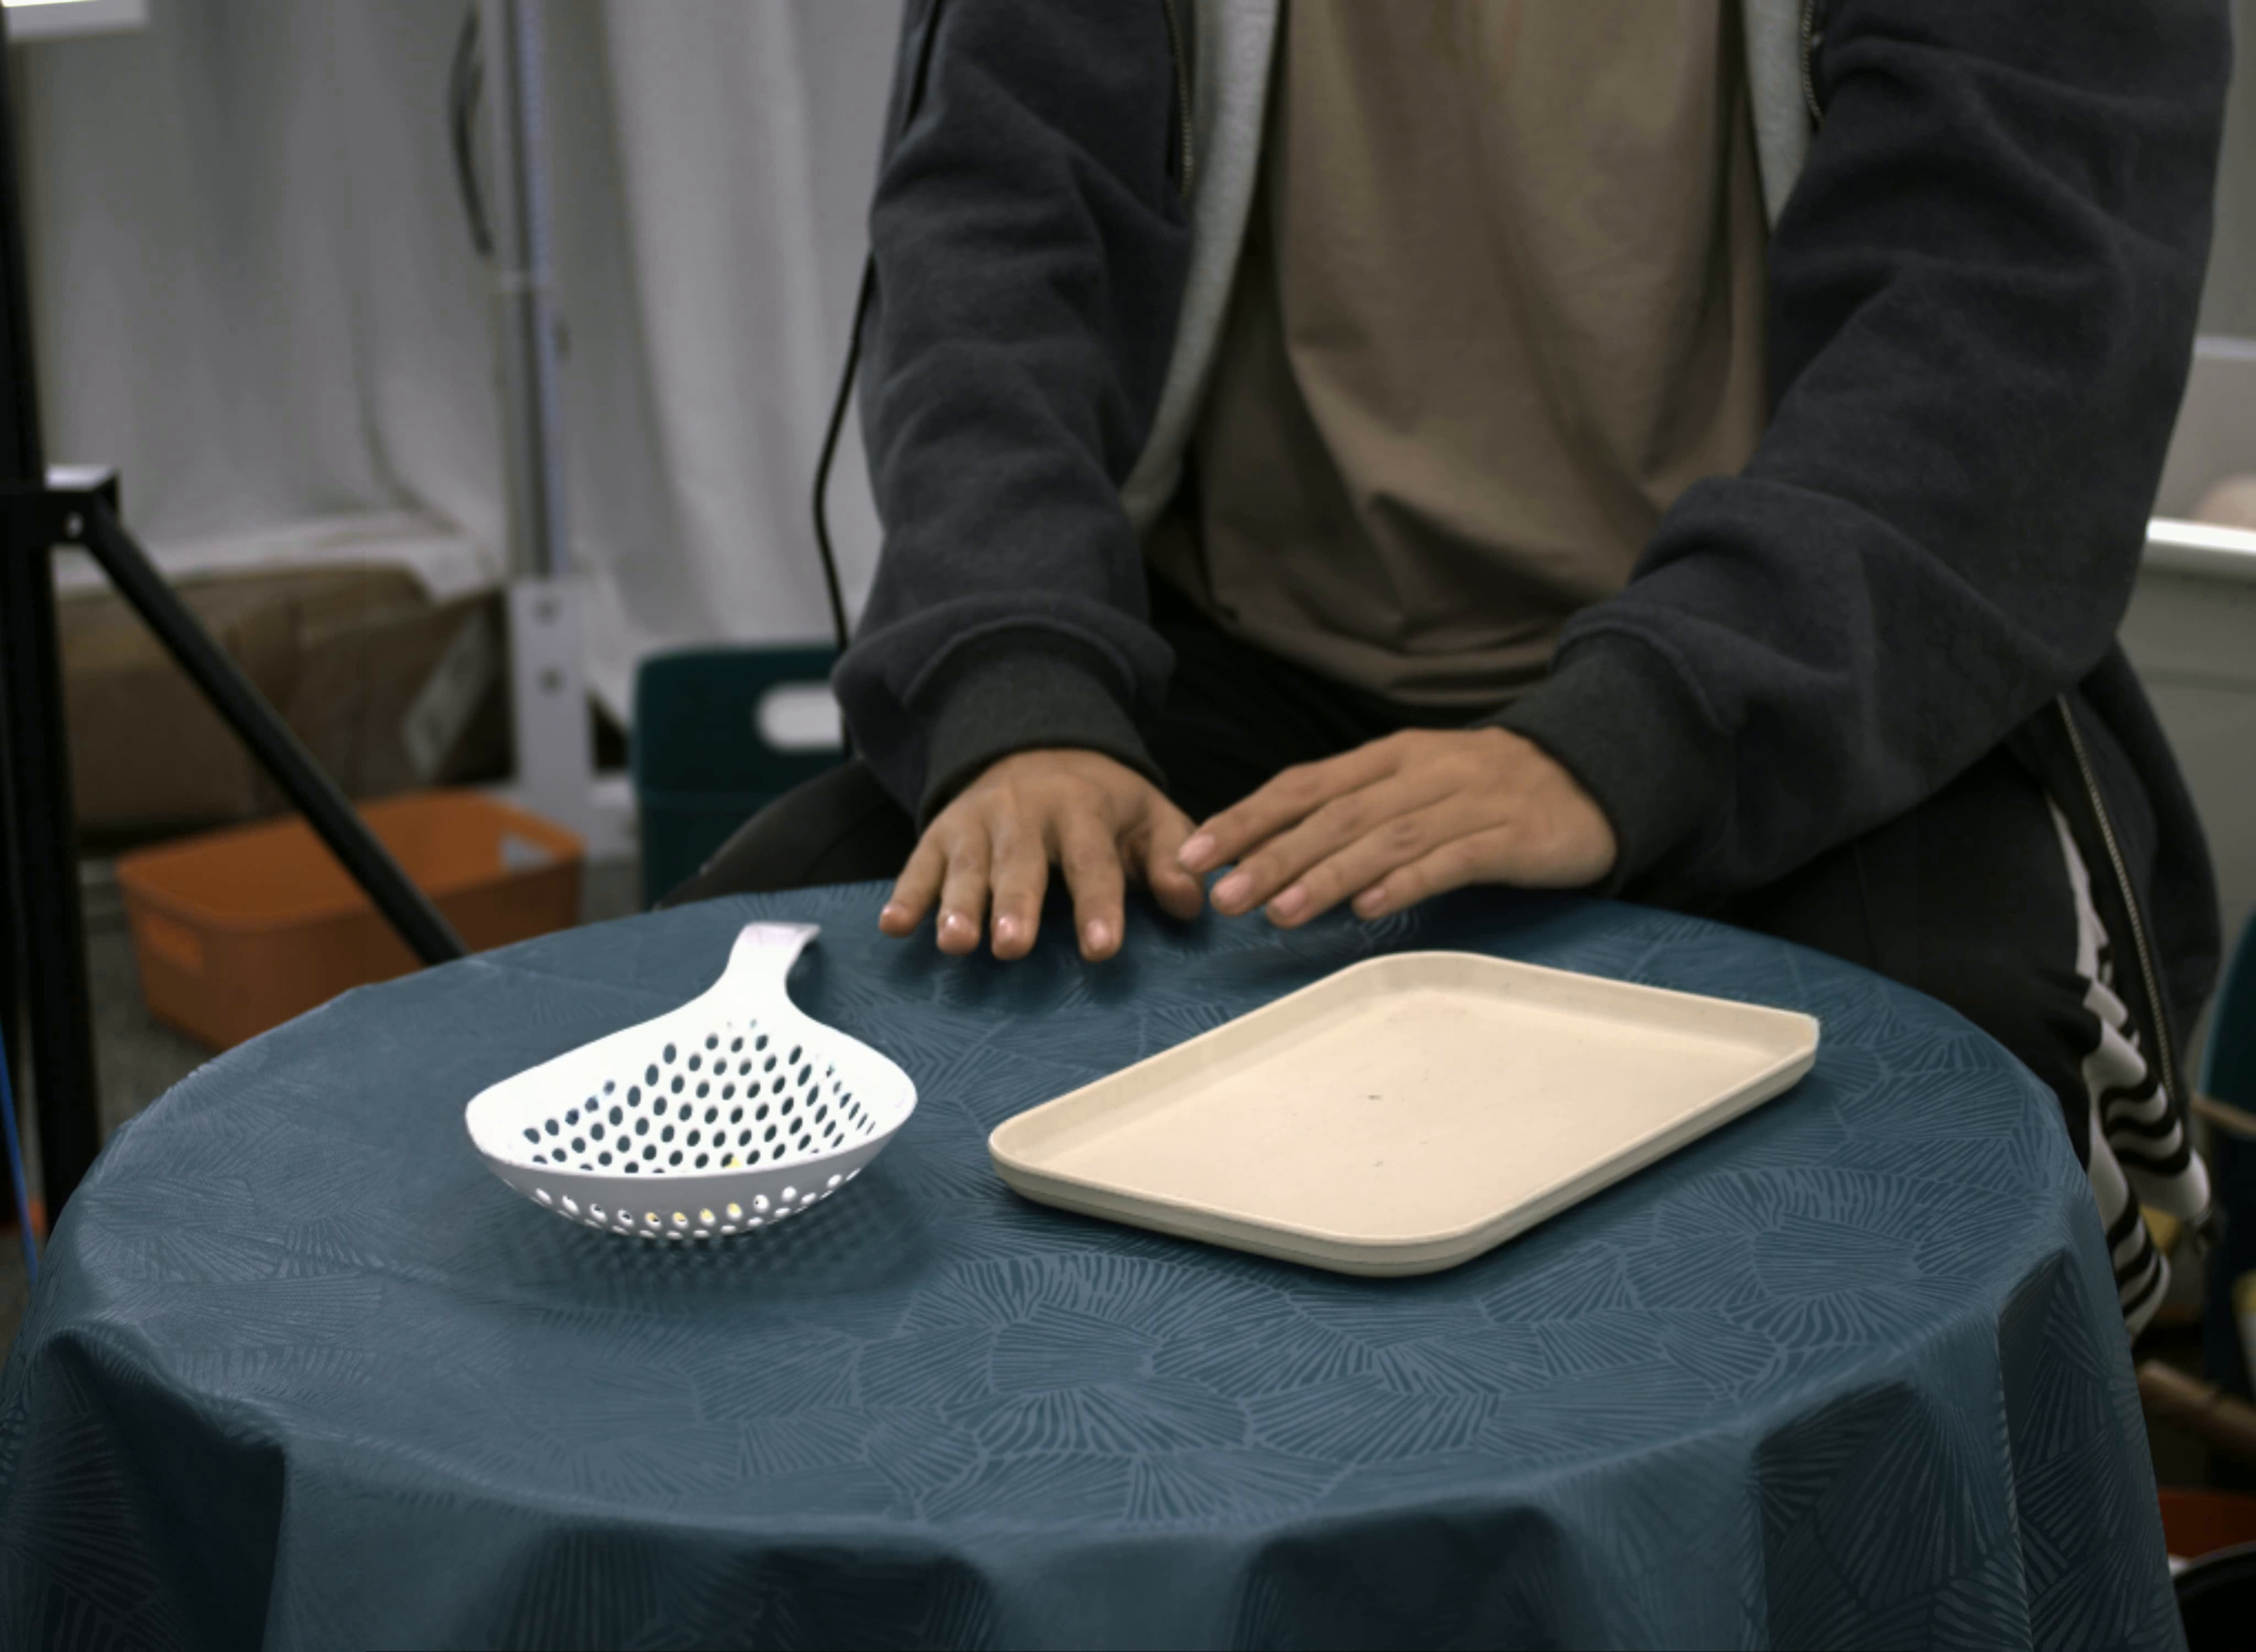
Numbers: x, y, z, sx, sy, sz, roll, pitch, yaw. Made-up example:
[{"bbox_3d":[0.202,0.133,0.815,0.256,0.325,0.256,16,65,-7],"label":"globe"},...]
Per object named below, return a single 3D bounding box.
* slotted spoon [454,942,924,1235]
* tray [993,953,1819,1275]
[{"bbox_3d":[-0.121,0.067,1.652,0.136,0.050,0.348,-5,15,4],"label":"slotted spoon"},{"bbox_3d":[0.086,0.085,1.593,0.175,0.017,0.234,9,20,38],"label":"tray"}]
